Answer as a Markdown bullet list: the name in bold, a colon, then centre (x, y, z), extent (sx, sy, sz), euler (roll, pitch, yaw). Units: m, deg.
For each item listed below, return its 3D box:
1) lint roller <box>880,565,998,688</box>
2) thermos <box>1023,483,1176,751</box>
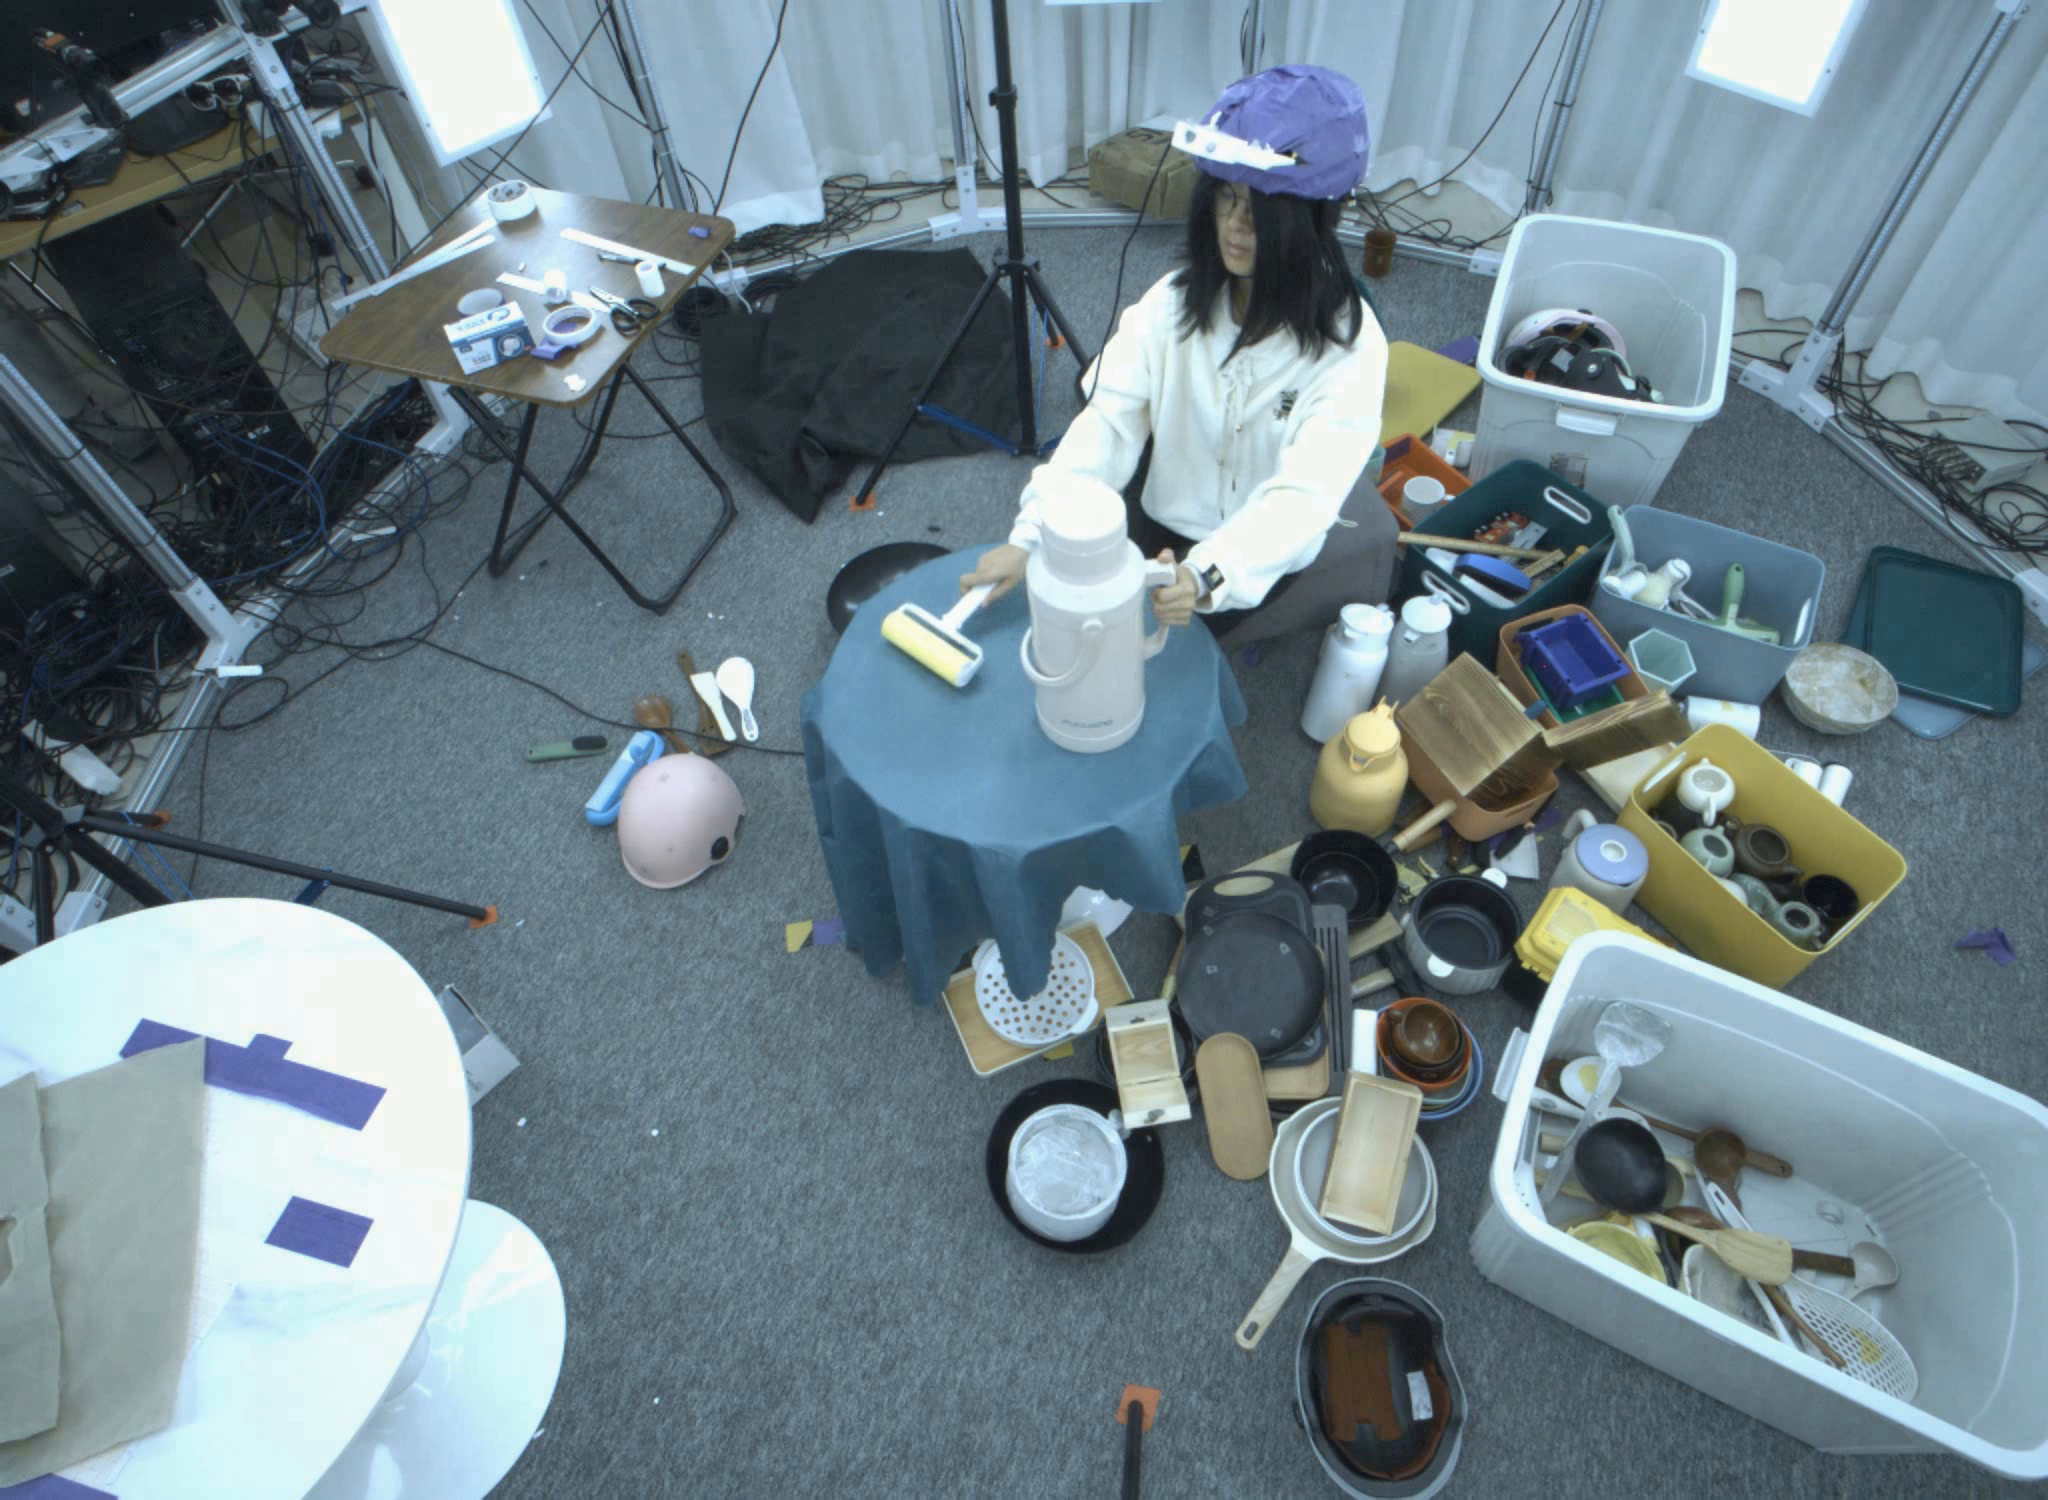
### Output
- **lint roller**: centre (-0.107, -0.212, 1.879), extent (0.171, 0.052, 0.192), euler (34, 87, 24)
- **thermos**: centre (0.098, -0.176, 1.665), extent (0.207, 0.411, 0.173), euler (-5, 54, 0)
